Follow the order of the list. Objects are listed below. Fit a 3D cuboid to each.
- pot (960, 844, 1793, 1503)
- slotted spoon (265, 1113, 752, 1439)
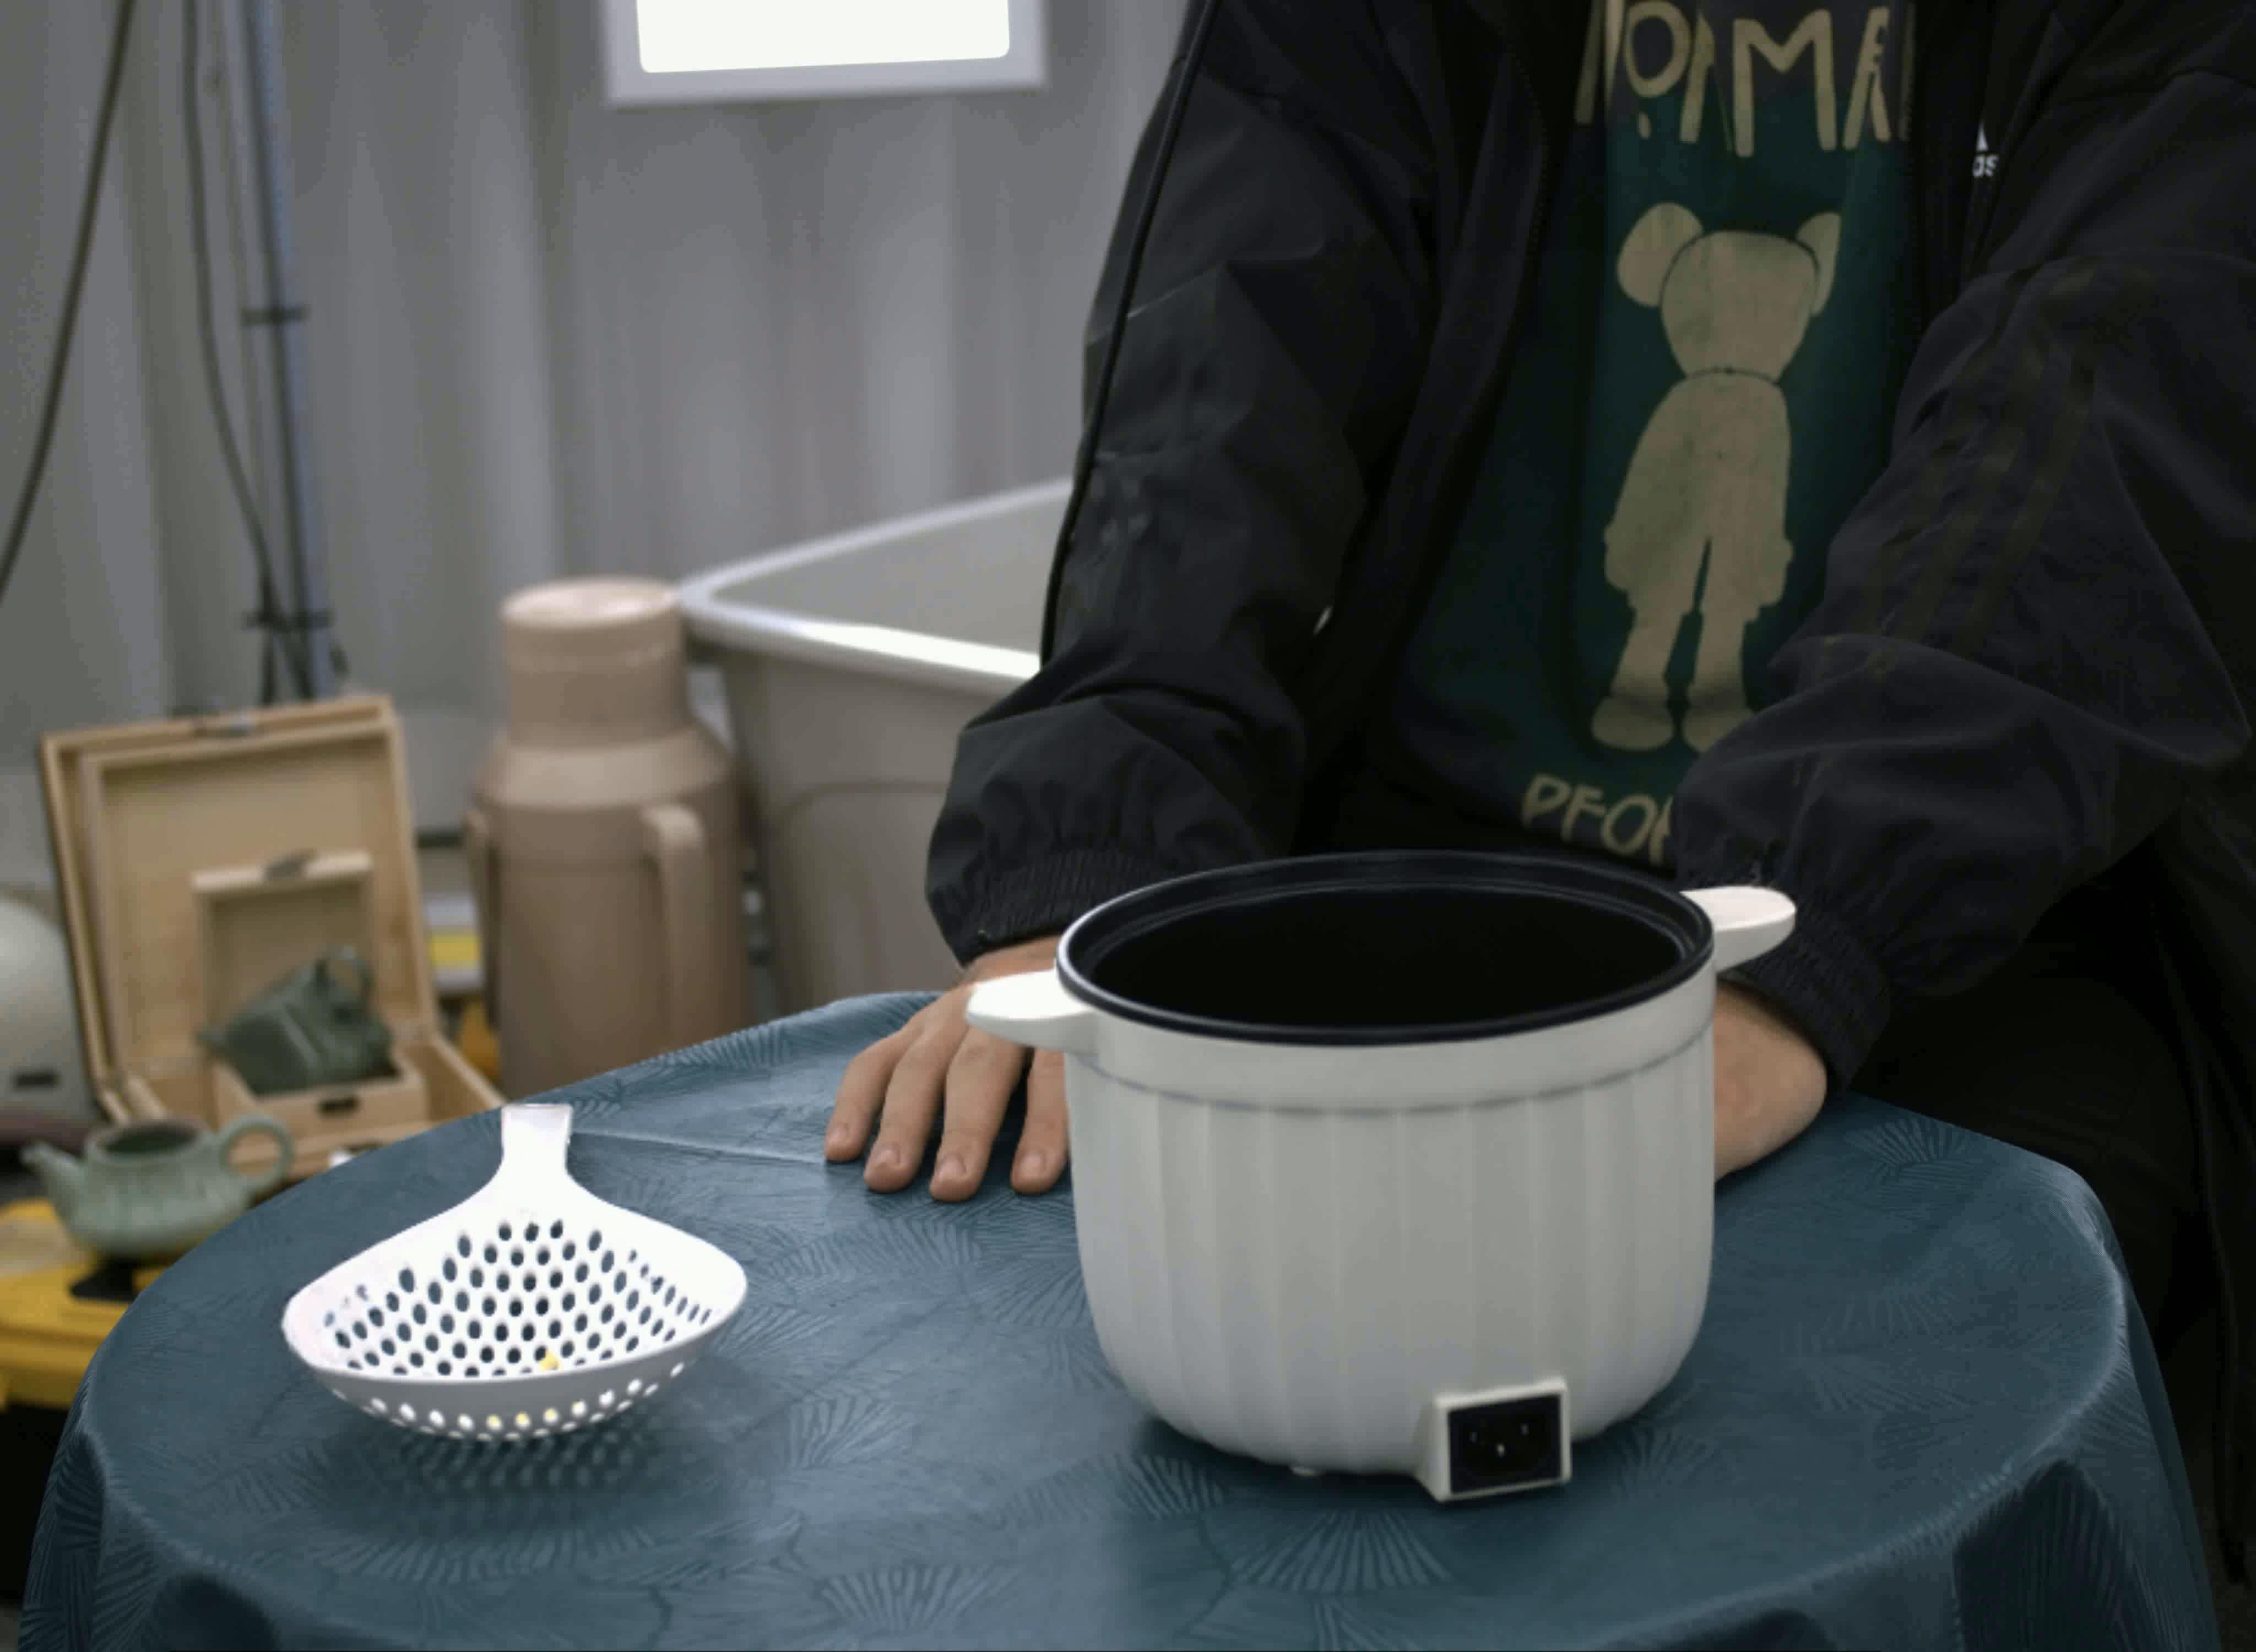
[{"bbox_3d":[0.070,0.093,1.516,0.239,0.142,0.192,-6,17,-16],"label":"pot"},{"bbox_3d":[-0.181,0.121,1.643,0.136,0.050,0.350,-6,15,-3],"label":"slotted spoon"}]
